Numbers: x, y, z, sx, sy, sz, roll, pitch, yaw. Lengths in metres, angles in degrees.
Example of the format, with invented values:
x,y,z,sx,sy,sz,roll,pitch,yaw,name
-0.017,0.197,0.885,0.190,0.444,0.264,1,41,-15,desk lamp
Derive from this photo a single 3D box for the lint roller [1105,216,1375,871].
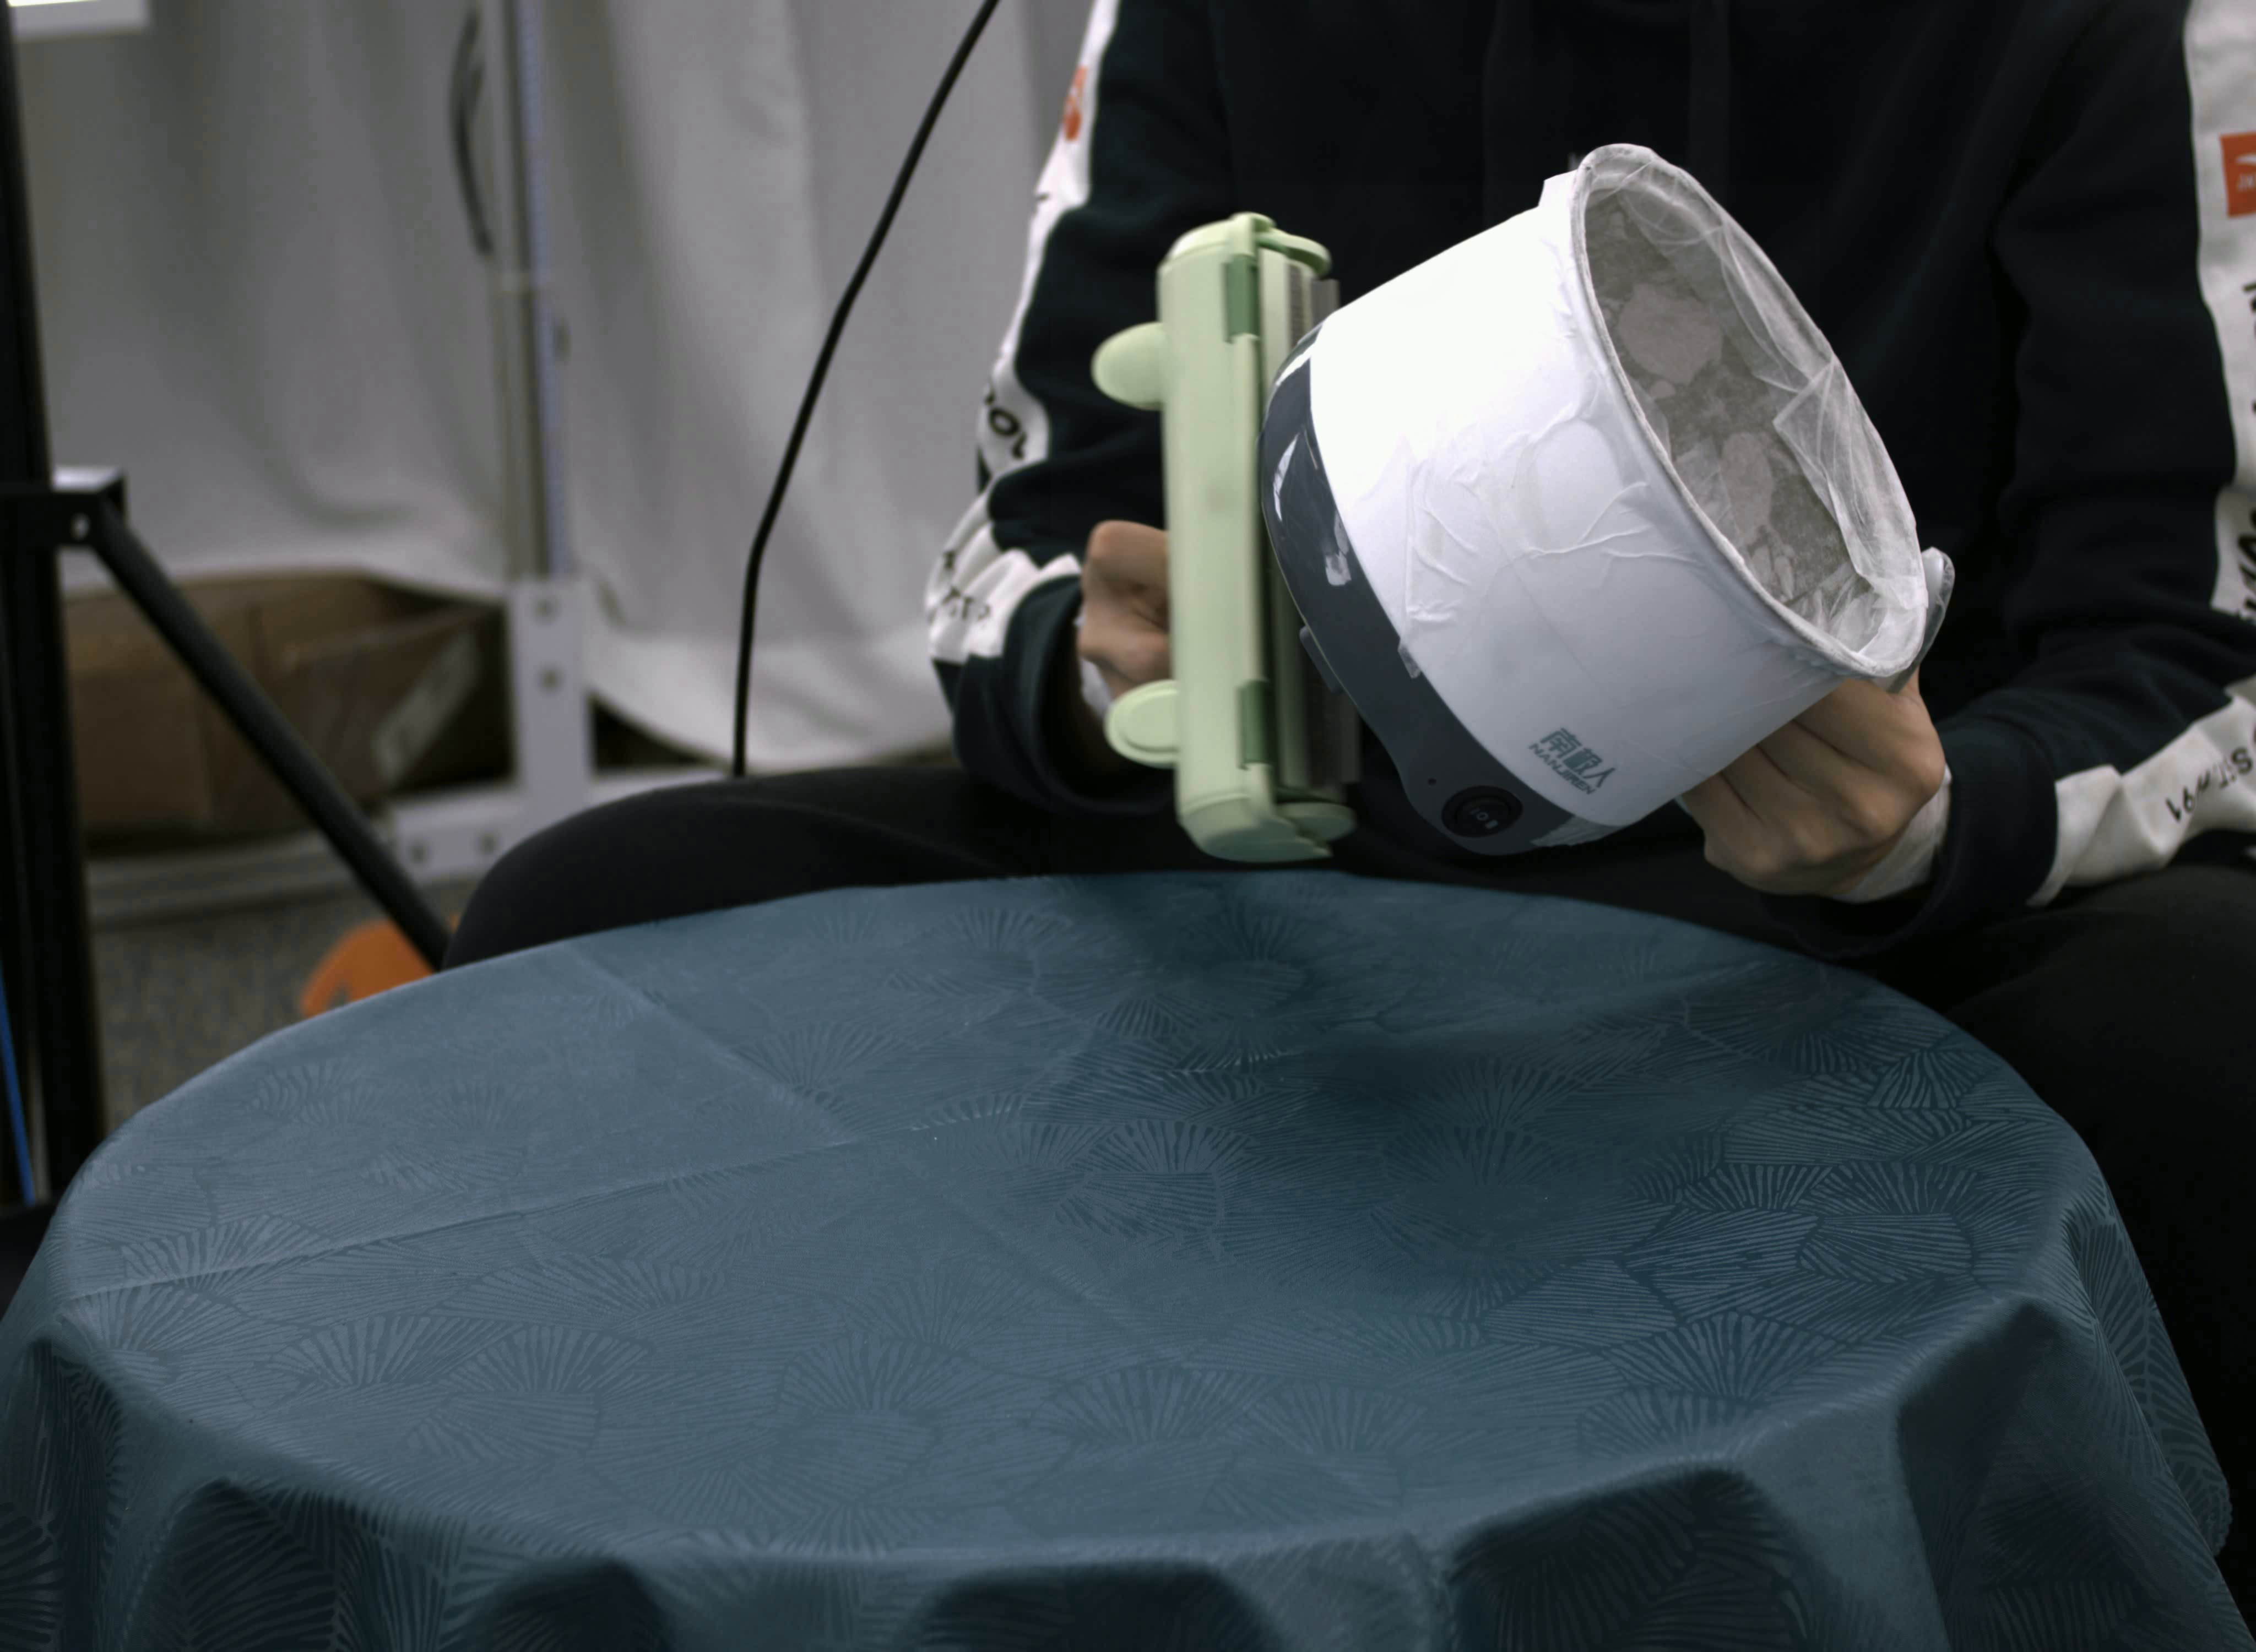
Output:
x,y,z,sx,sy,sz,roll,pitch,yaw,name
0.025,-0.073,1.697,0.081,0.200,0.184,1,-14,-13,lint roller

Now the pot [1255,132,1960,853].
x,y,z,sx,sy,sz,roll,pitch,yaw,name
0.151,-0.081,1.584,0.138,0.228,0.181,-30,44,29,pot
